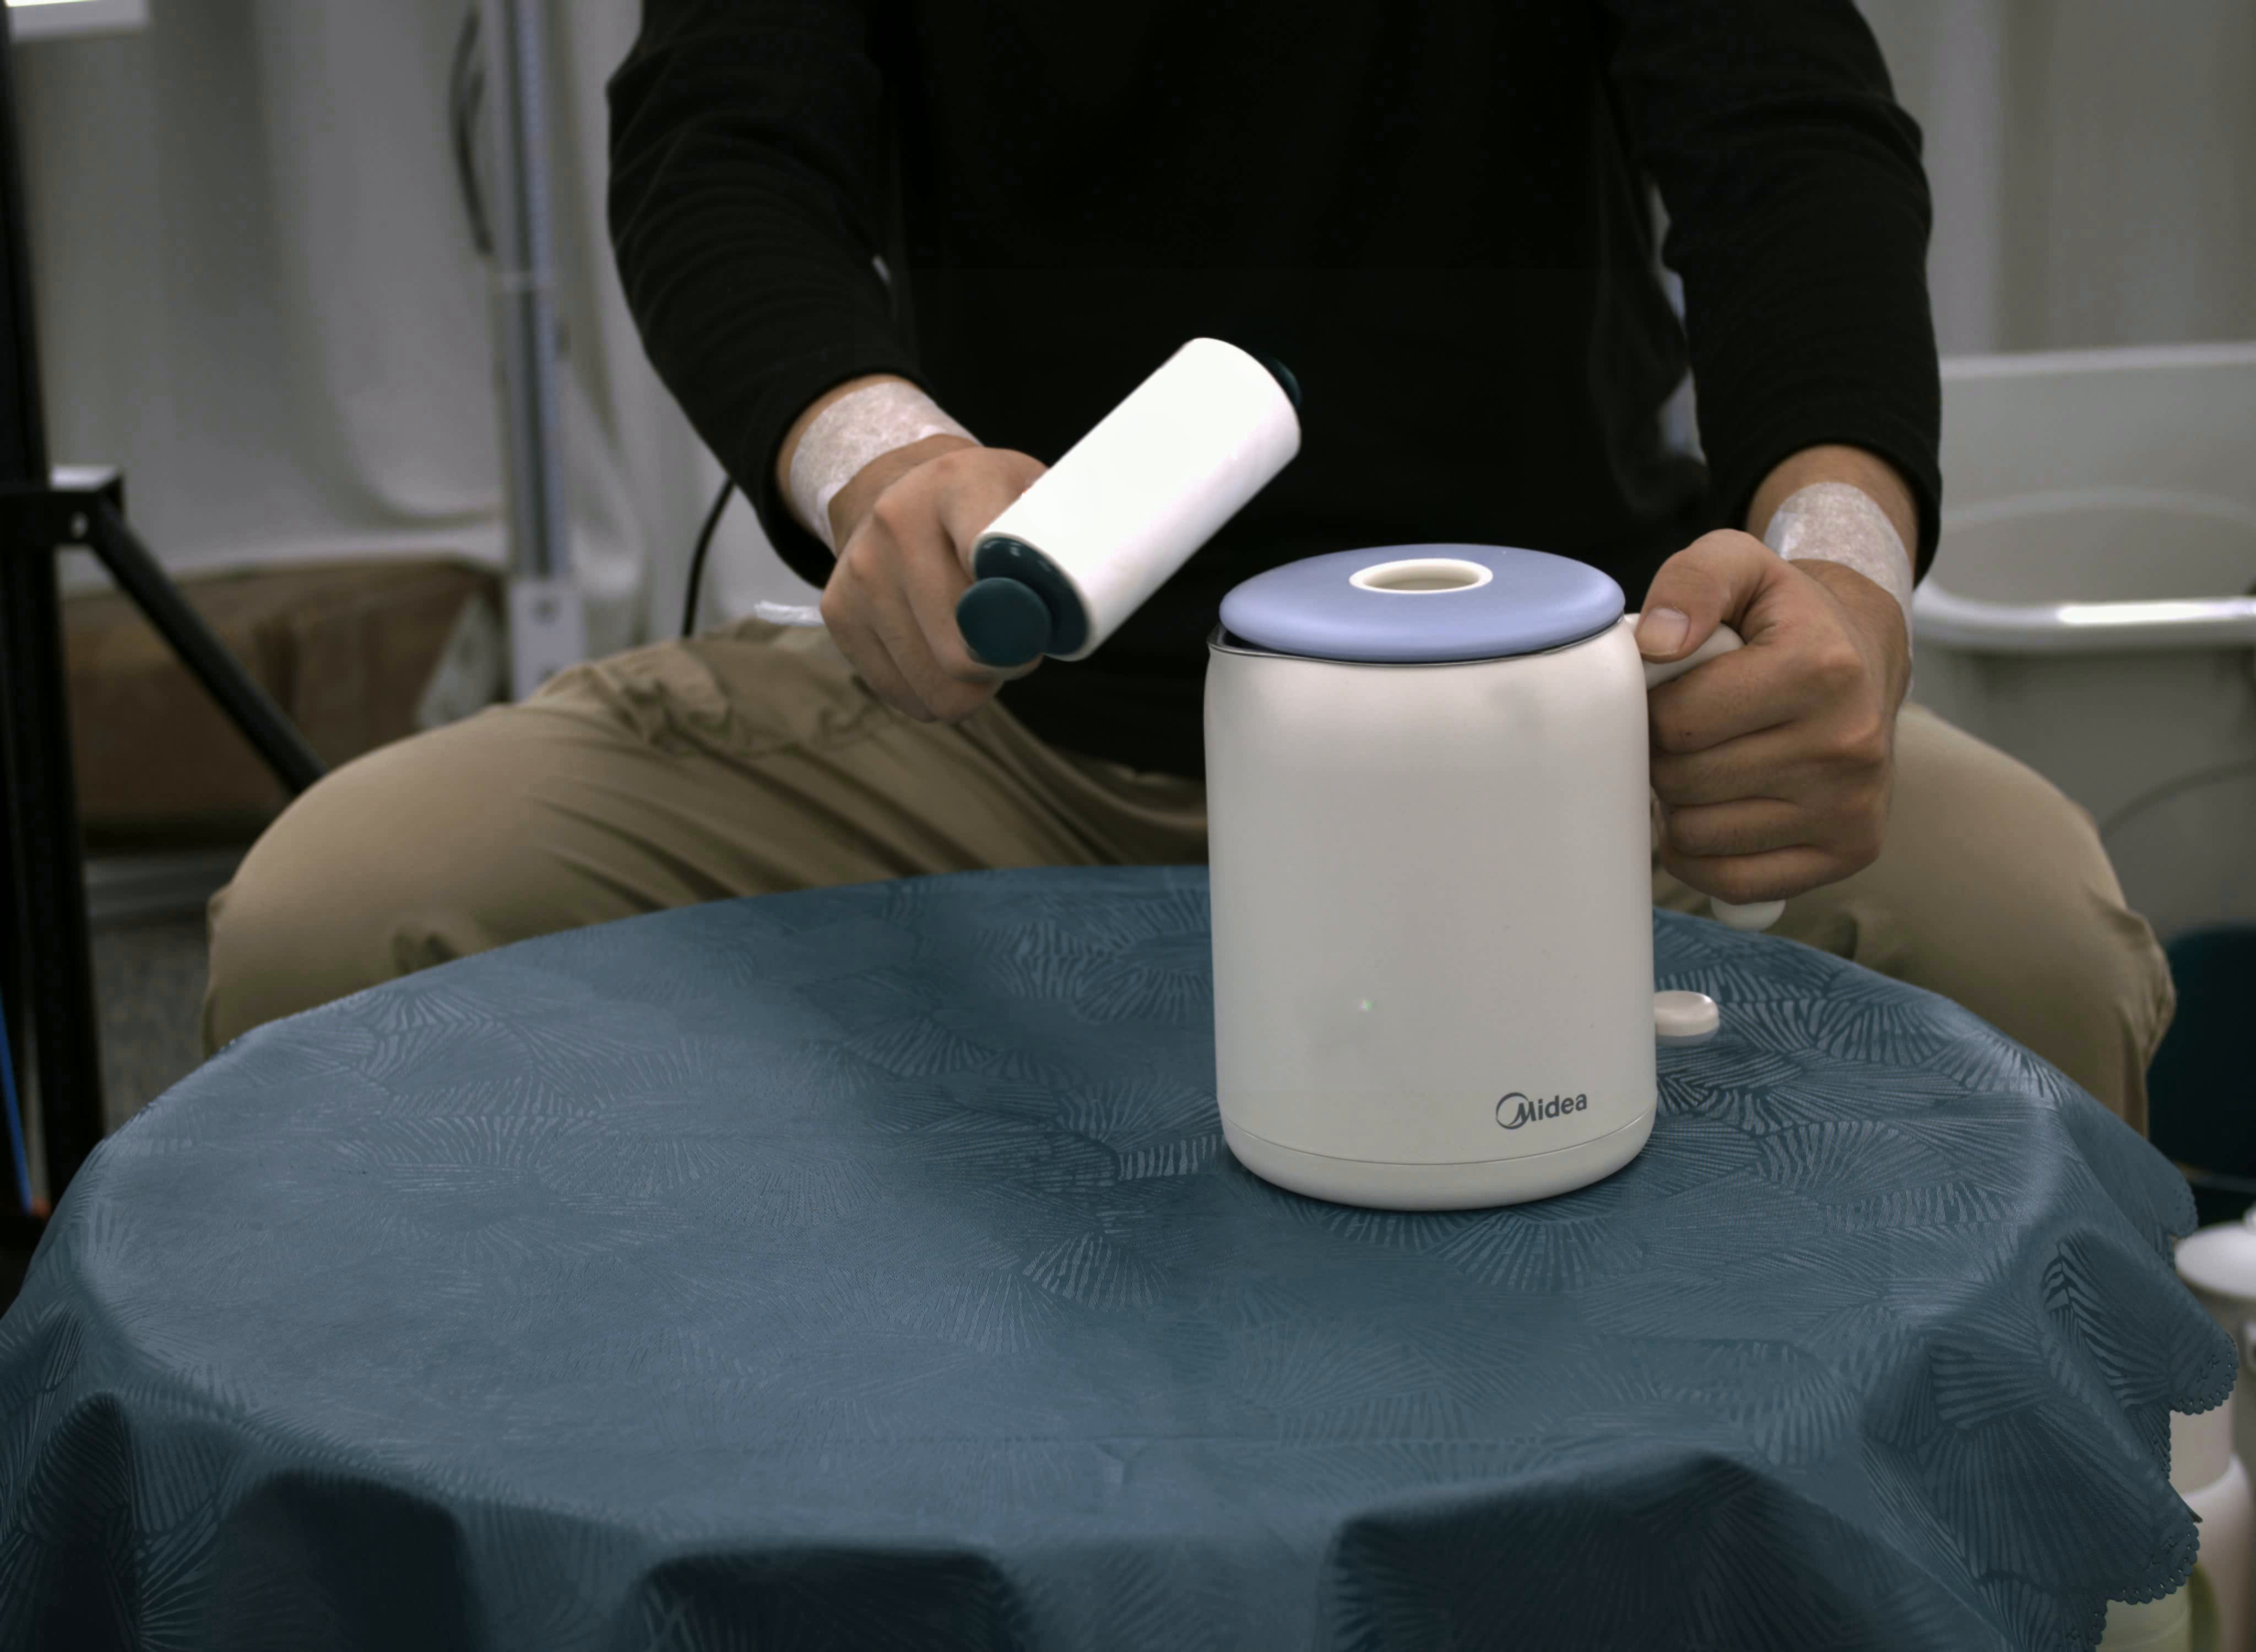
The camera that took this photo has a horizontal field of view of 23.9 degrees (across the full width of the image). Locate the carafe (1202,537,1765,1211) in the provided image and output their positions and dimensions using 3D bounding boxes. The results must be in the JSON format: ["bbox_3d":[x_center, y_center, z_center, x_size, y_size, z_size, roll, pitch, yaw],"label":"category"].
[{"bbox_3d":[0.110,0.010,1.571,0.187,0.182,0.135,-7,16,-25],"label":"carafe"}]

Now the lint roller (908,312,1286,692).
[{"bbox_3d":[-0.033,-0.084,1.628,0.133,0.048,0.183,-44,10,-30],"label":"lint roller"}]
